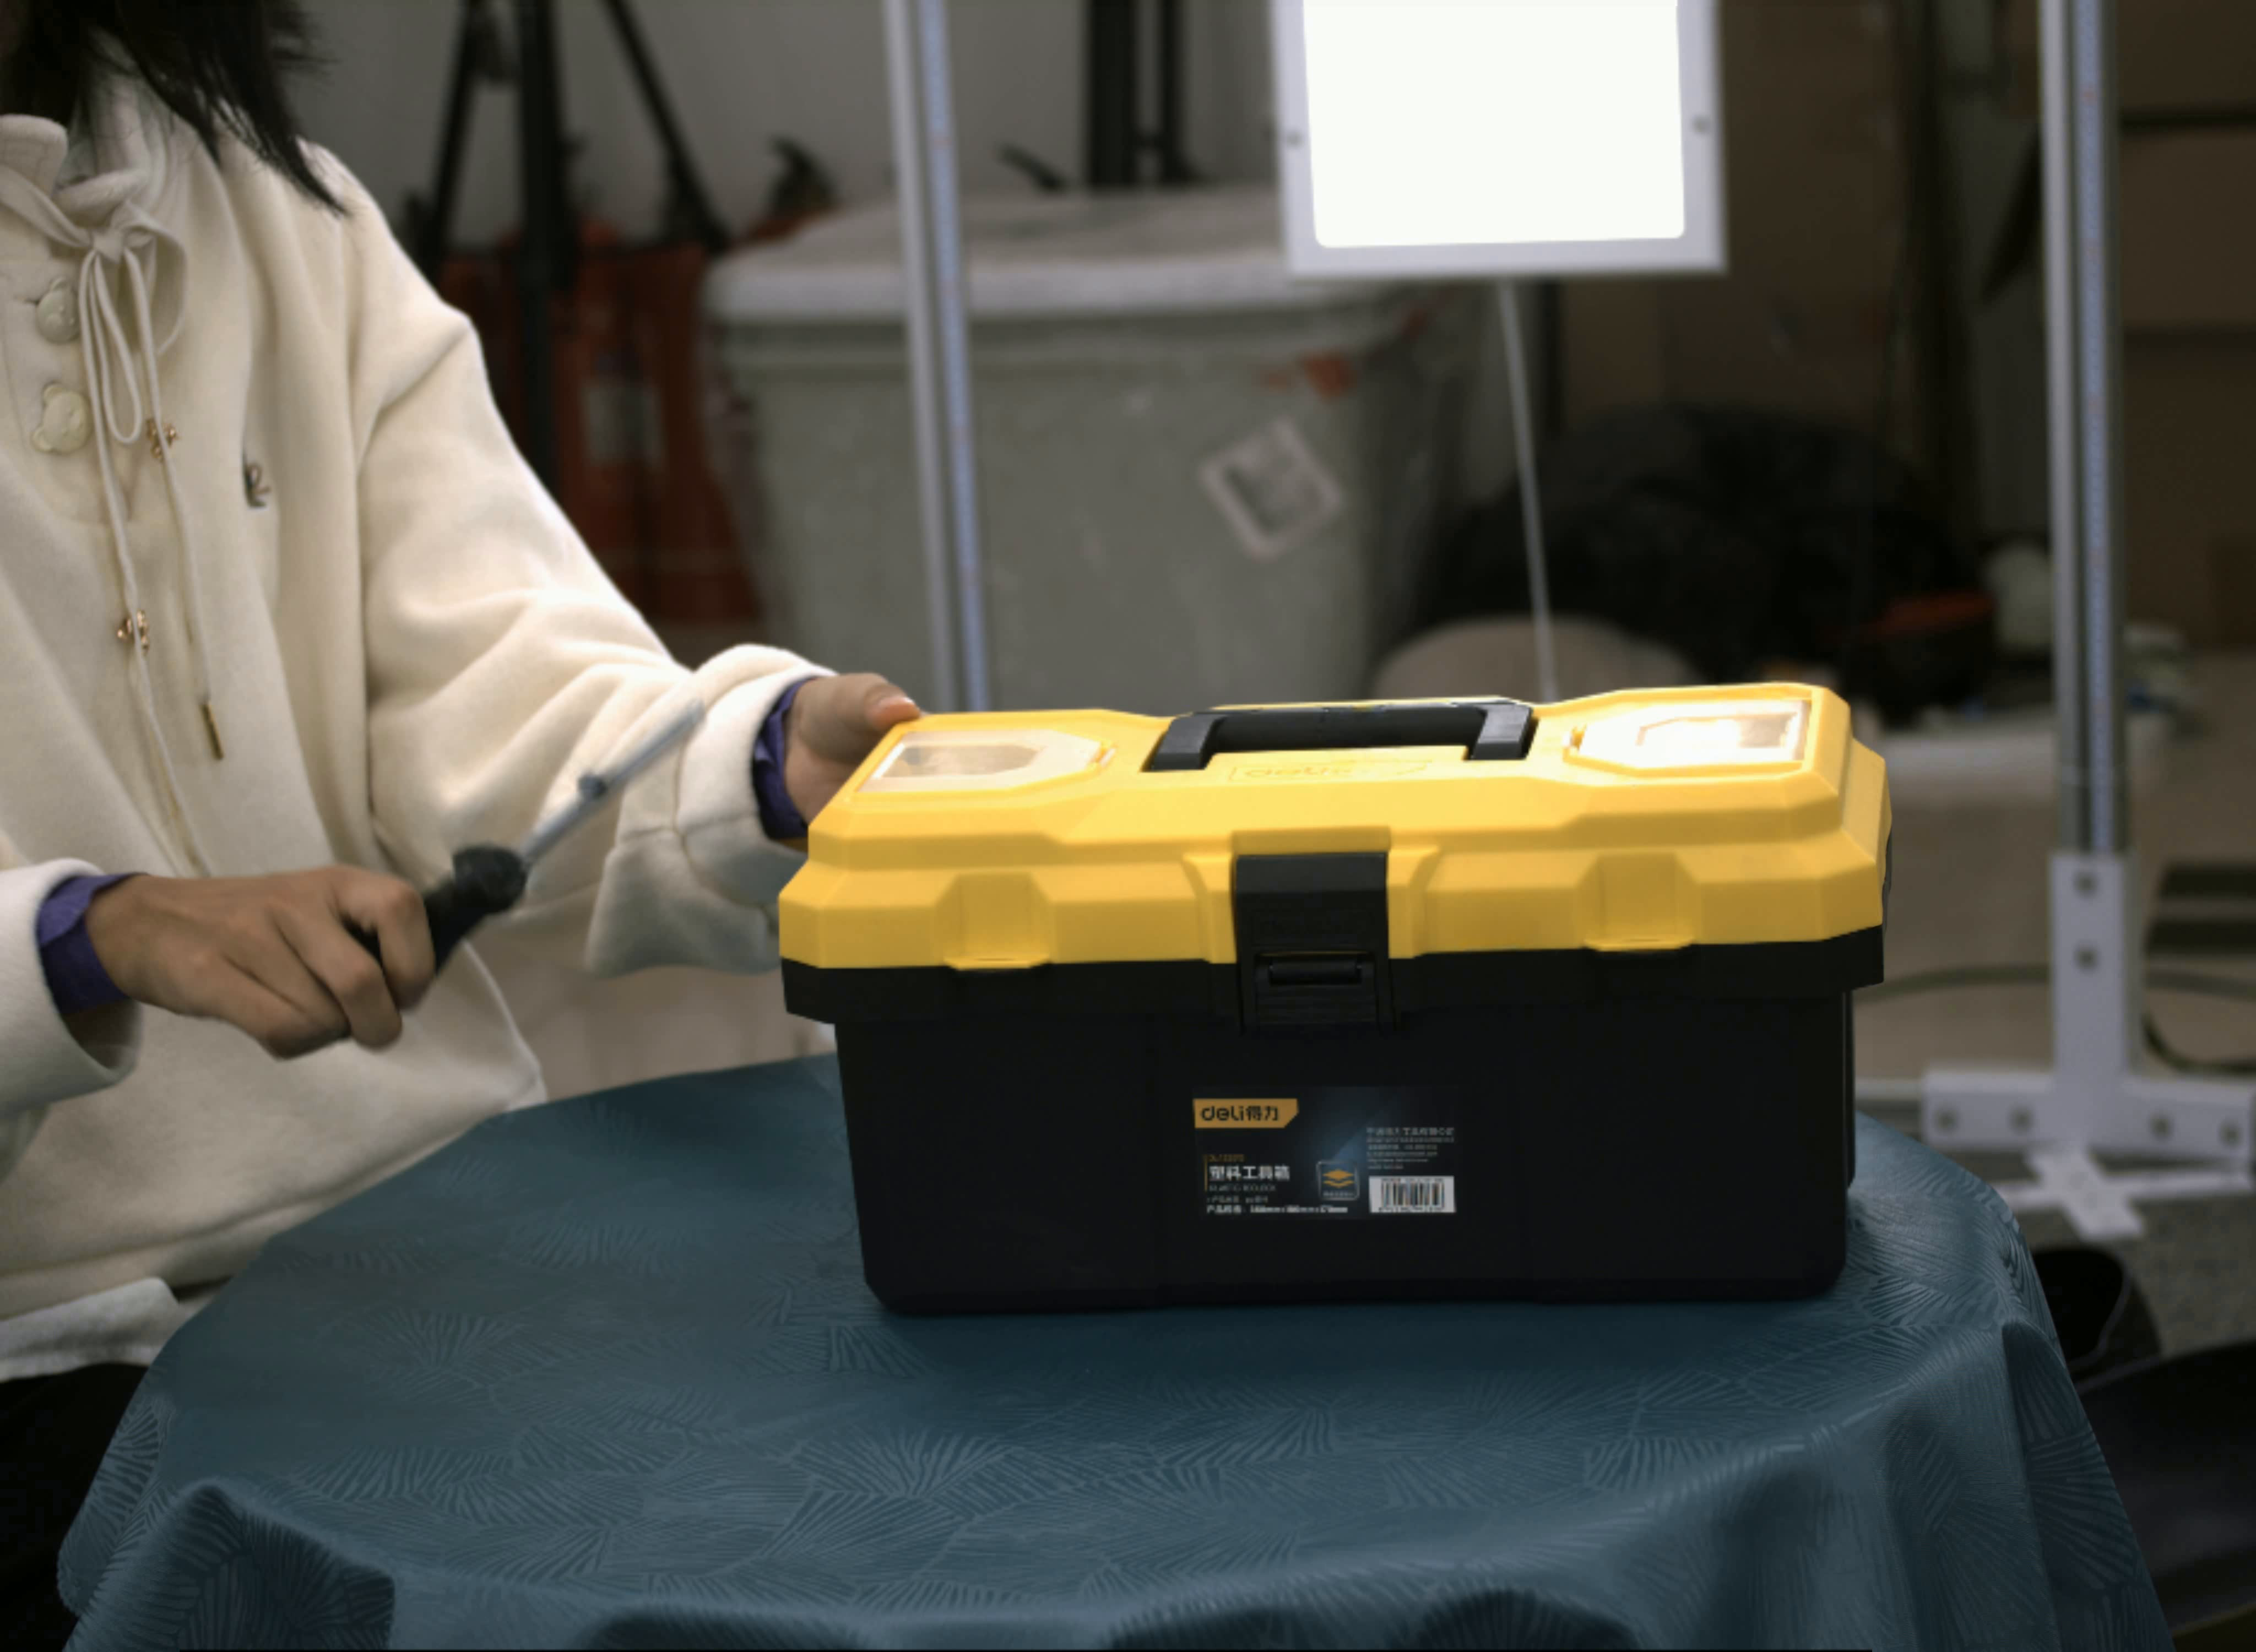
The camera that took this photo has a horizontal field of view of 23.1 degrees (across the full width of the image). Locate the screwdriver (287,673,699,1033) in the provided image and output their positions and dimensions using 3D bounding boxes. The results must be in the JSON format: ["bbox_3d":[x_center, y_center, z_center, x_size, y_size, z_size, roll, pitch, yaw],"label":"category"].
[{"bbox_3d":[-0.203,0.006,1.755,0.200,0.031,0.031,-41,-7,32],"label":"screwdriver"}]

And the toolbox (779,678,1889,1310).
[{"bbox_3d":[0.073,0.056,1.794,0.354,0.173,0.179,-2,14,12],"label":"toolbox"}]
